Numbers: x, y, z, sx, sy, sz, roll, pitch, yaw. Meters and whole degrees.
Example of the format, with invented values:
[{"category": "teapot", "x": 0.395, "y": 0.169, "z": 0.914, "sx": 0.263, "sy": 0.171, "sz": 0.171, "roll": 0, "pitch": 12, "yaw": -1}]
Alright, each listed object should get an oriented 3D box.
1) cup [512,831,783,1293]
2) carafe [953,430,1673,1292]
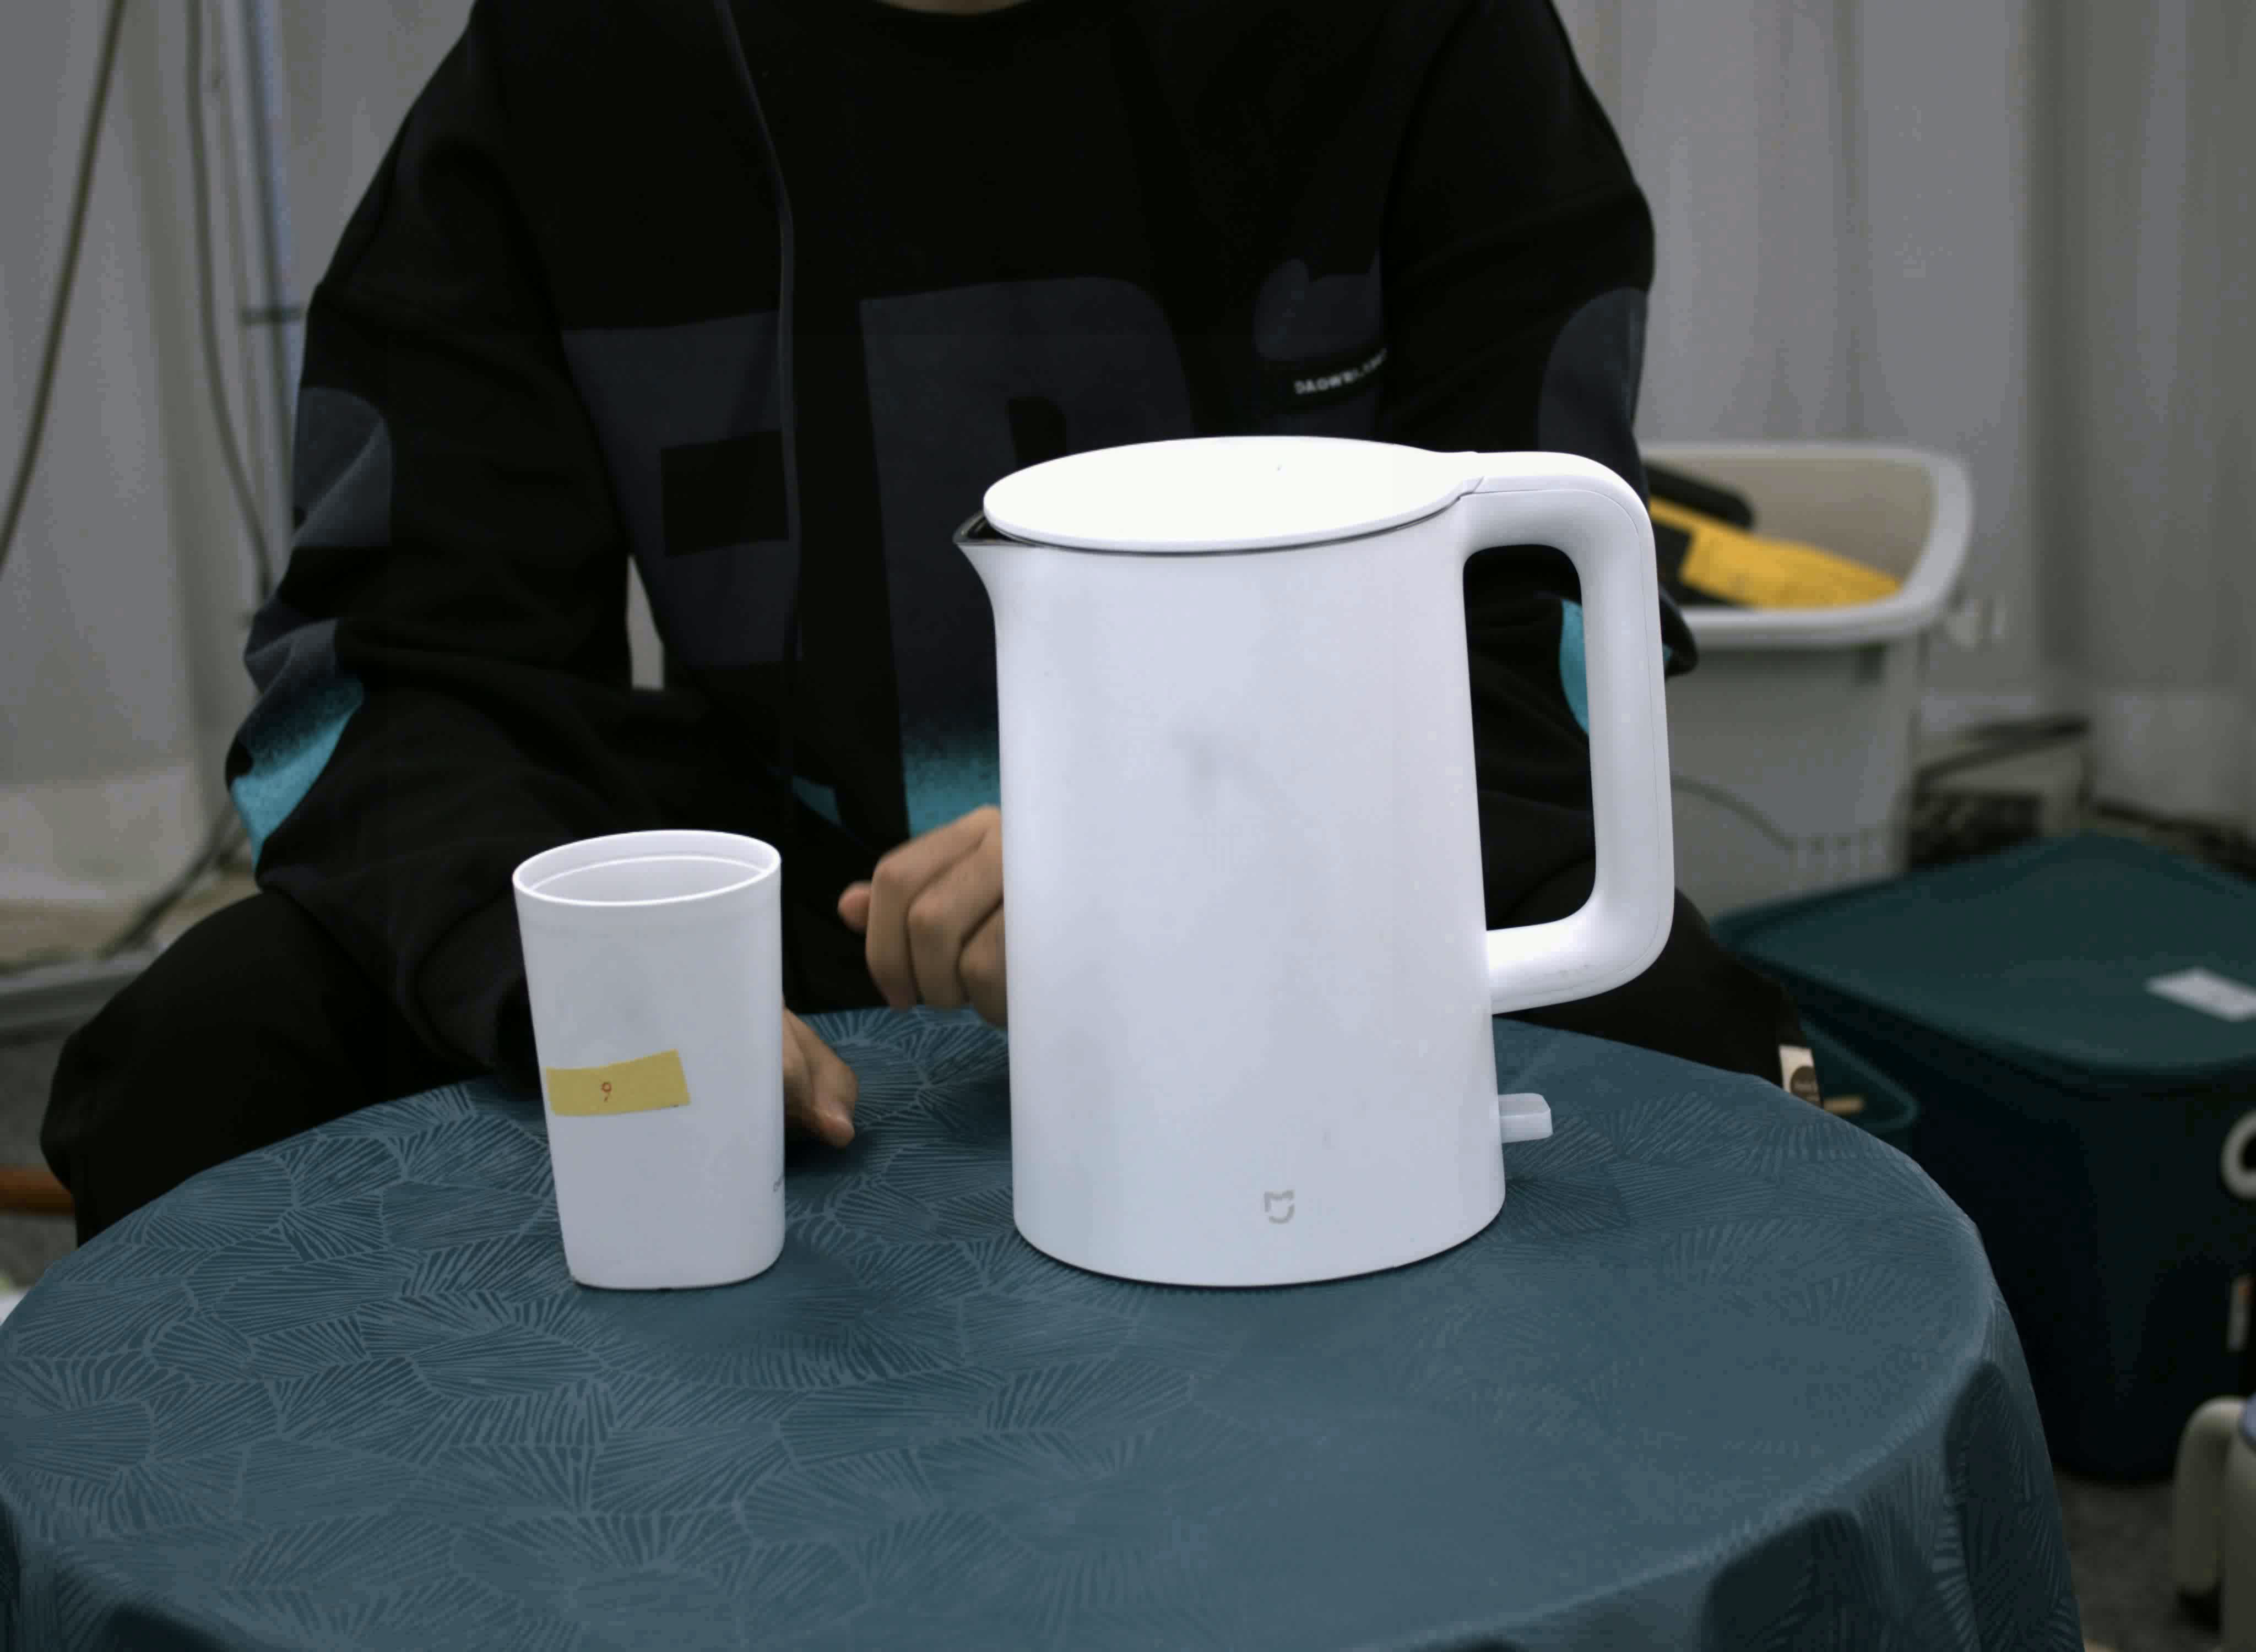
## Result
[{"category": "cup", "x": -0.141, "y": 0.073, "z": 1.661, "sx": 0.081, "sy": 0.125, "sz": 0.082, "roll": -3, "pitch": 13, "yaw": 0}, {"category": "carafe", "x": 0.060, "y": 0.006, "z": 1.664, "sx": 0.212, "sy": 0.239, "sz": 0.153, "roll": -5, "pitch": 15, "yaw": -5}]
